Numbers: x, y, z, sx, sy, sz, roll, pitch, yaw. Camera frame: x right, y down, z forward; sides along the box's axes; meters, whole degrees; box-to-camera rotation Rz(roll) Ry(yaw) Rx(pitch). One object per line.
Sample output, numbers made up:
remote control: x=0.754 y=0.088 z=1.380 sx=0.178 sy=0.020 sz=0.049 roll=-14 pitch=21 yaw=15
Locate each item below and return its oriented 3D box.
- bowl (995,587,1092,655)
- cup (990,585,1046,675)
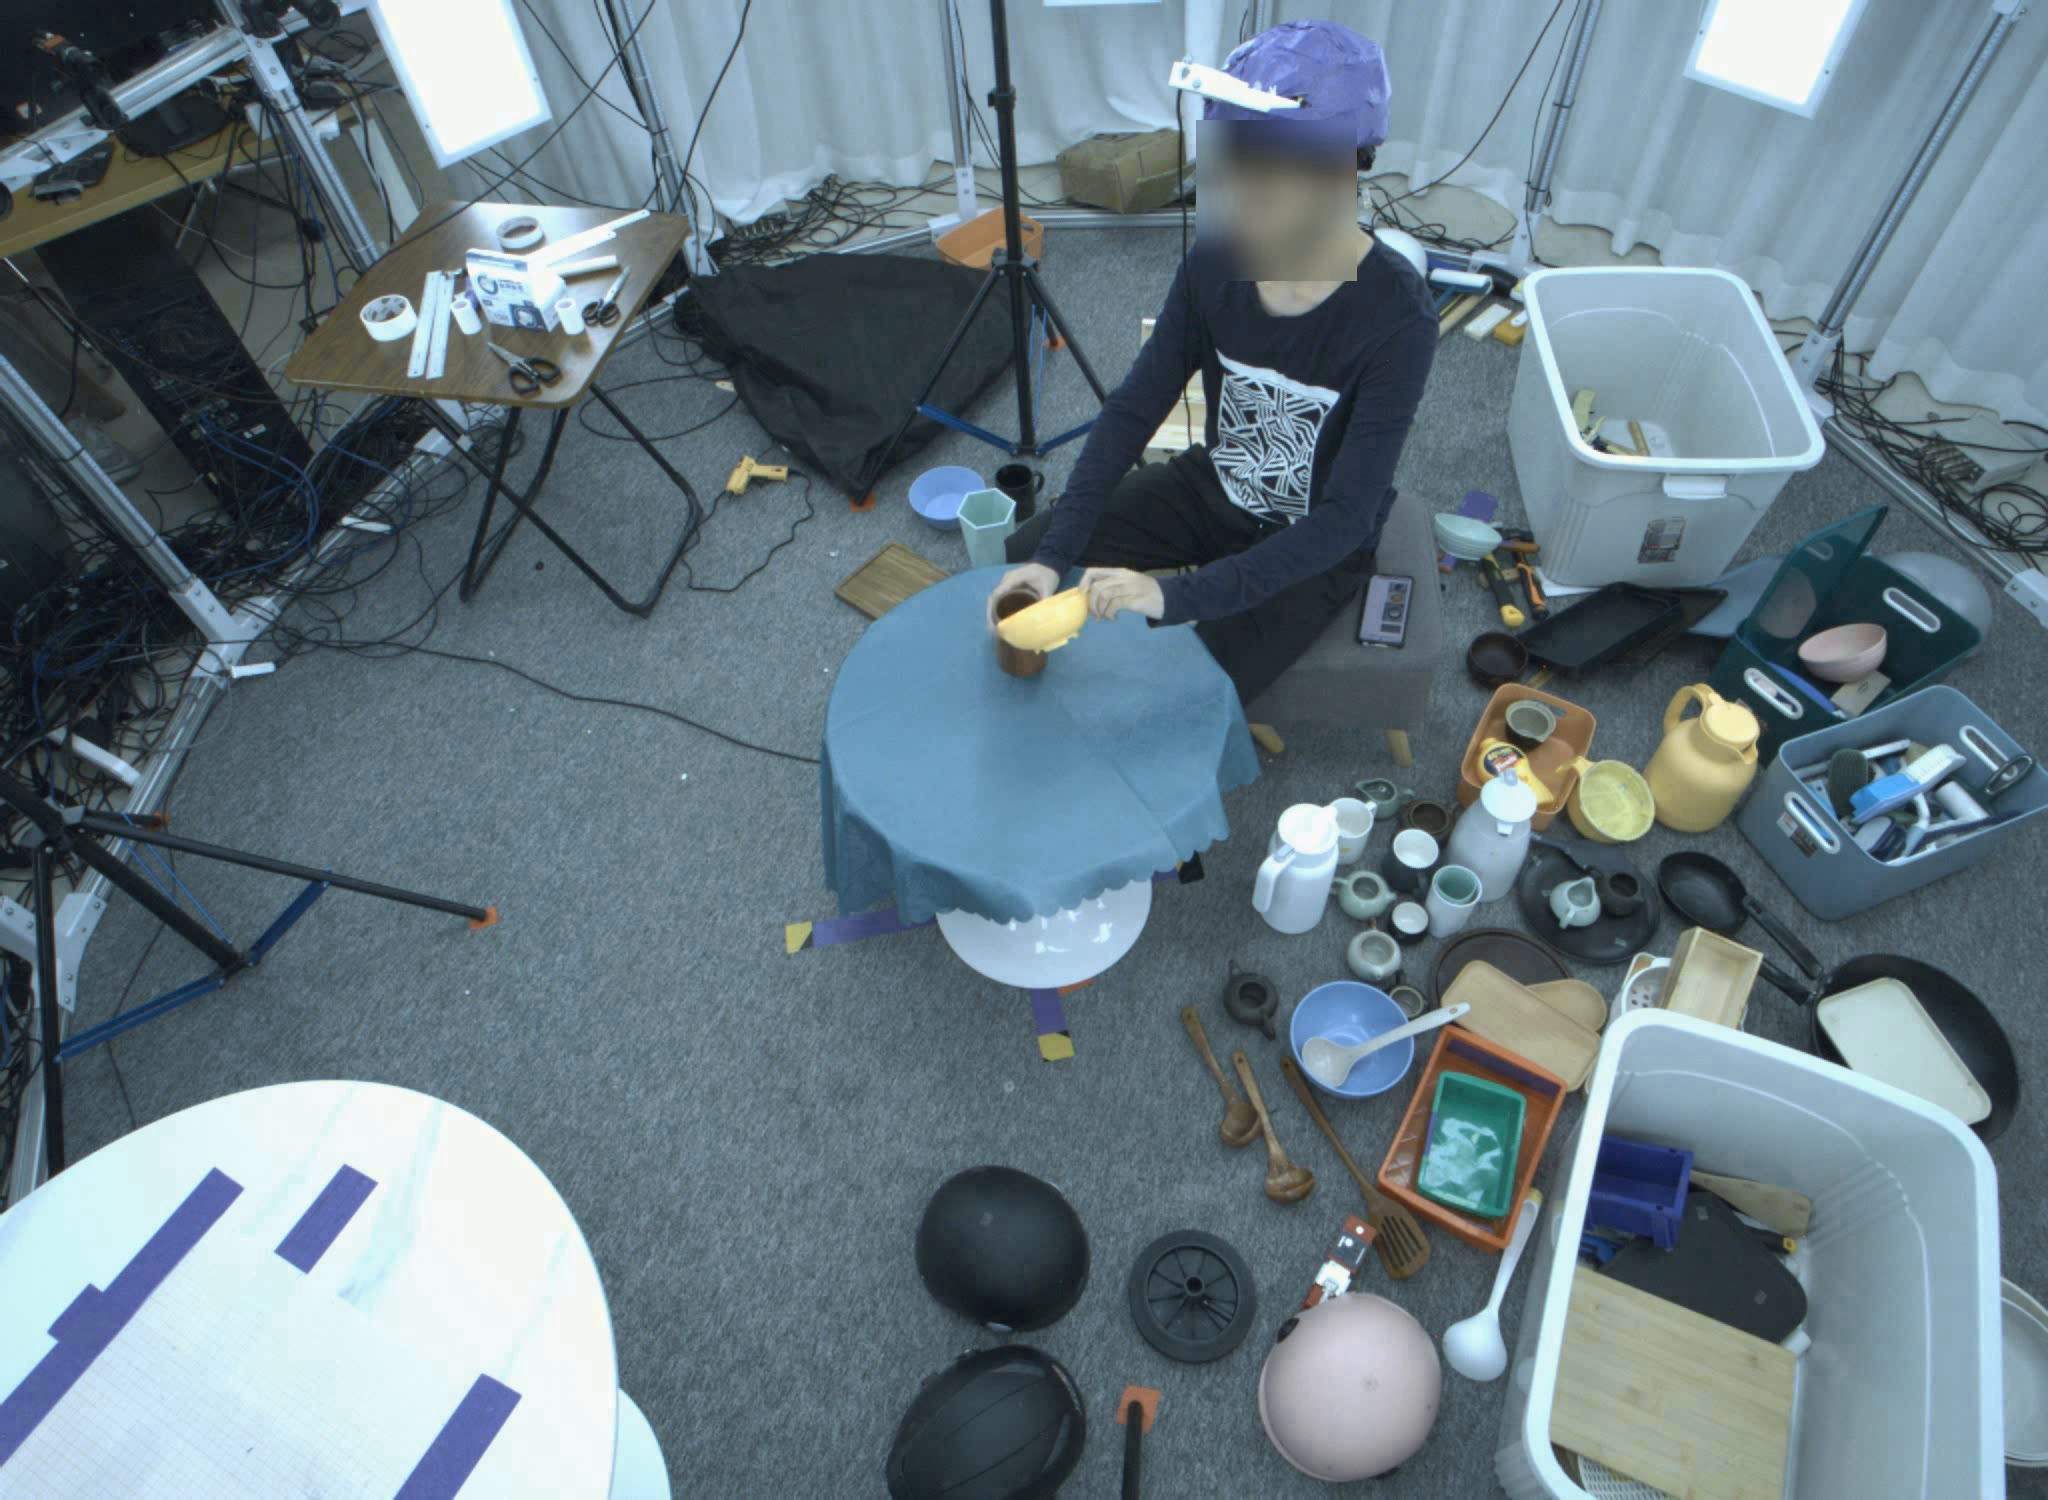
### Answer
bowl: x=0.036 y=-0.172 z=1.714 sx=0.145 sy=0.060 sz=0.144 roll=-21 pitch=13 yaw=7
cup: x=-0.008 y=-0.179 z=1.835 sx=0.088 sy=0.119 sz=0.087 roll=0 pitch=57 yaw=1
